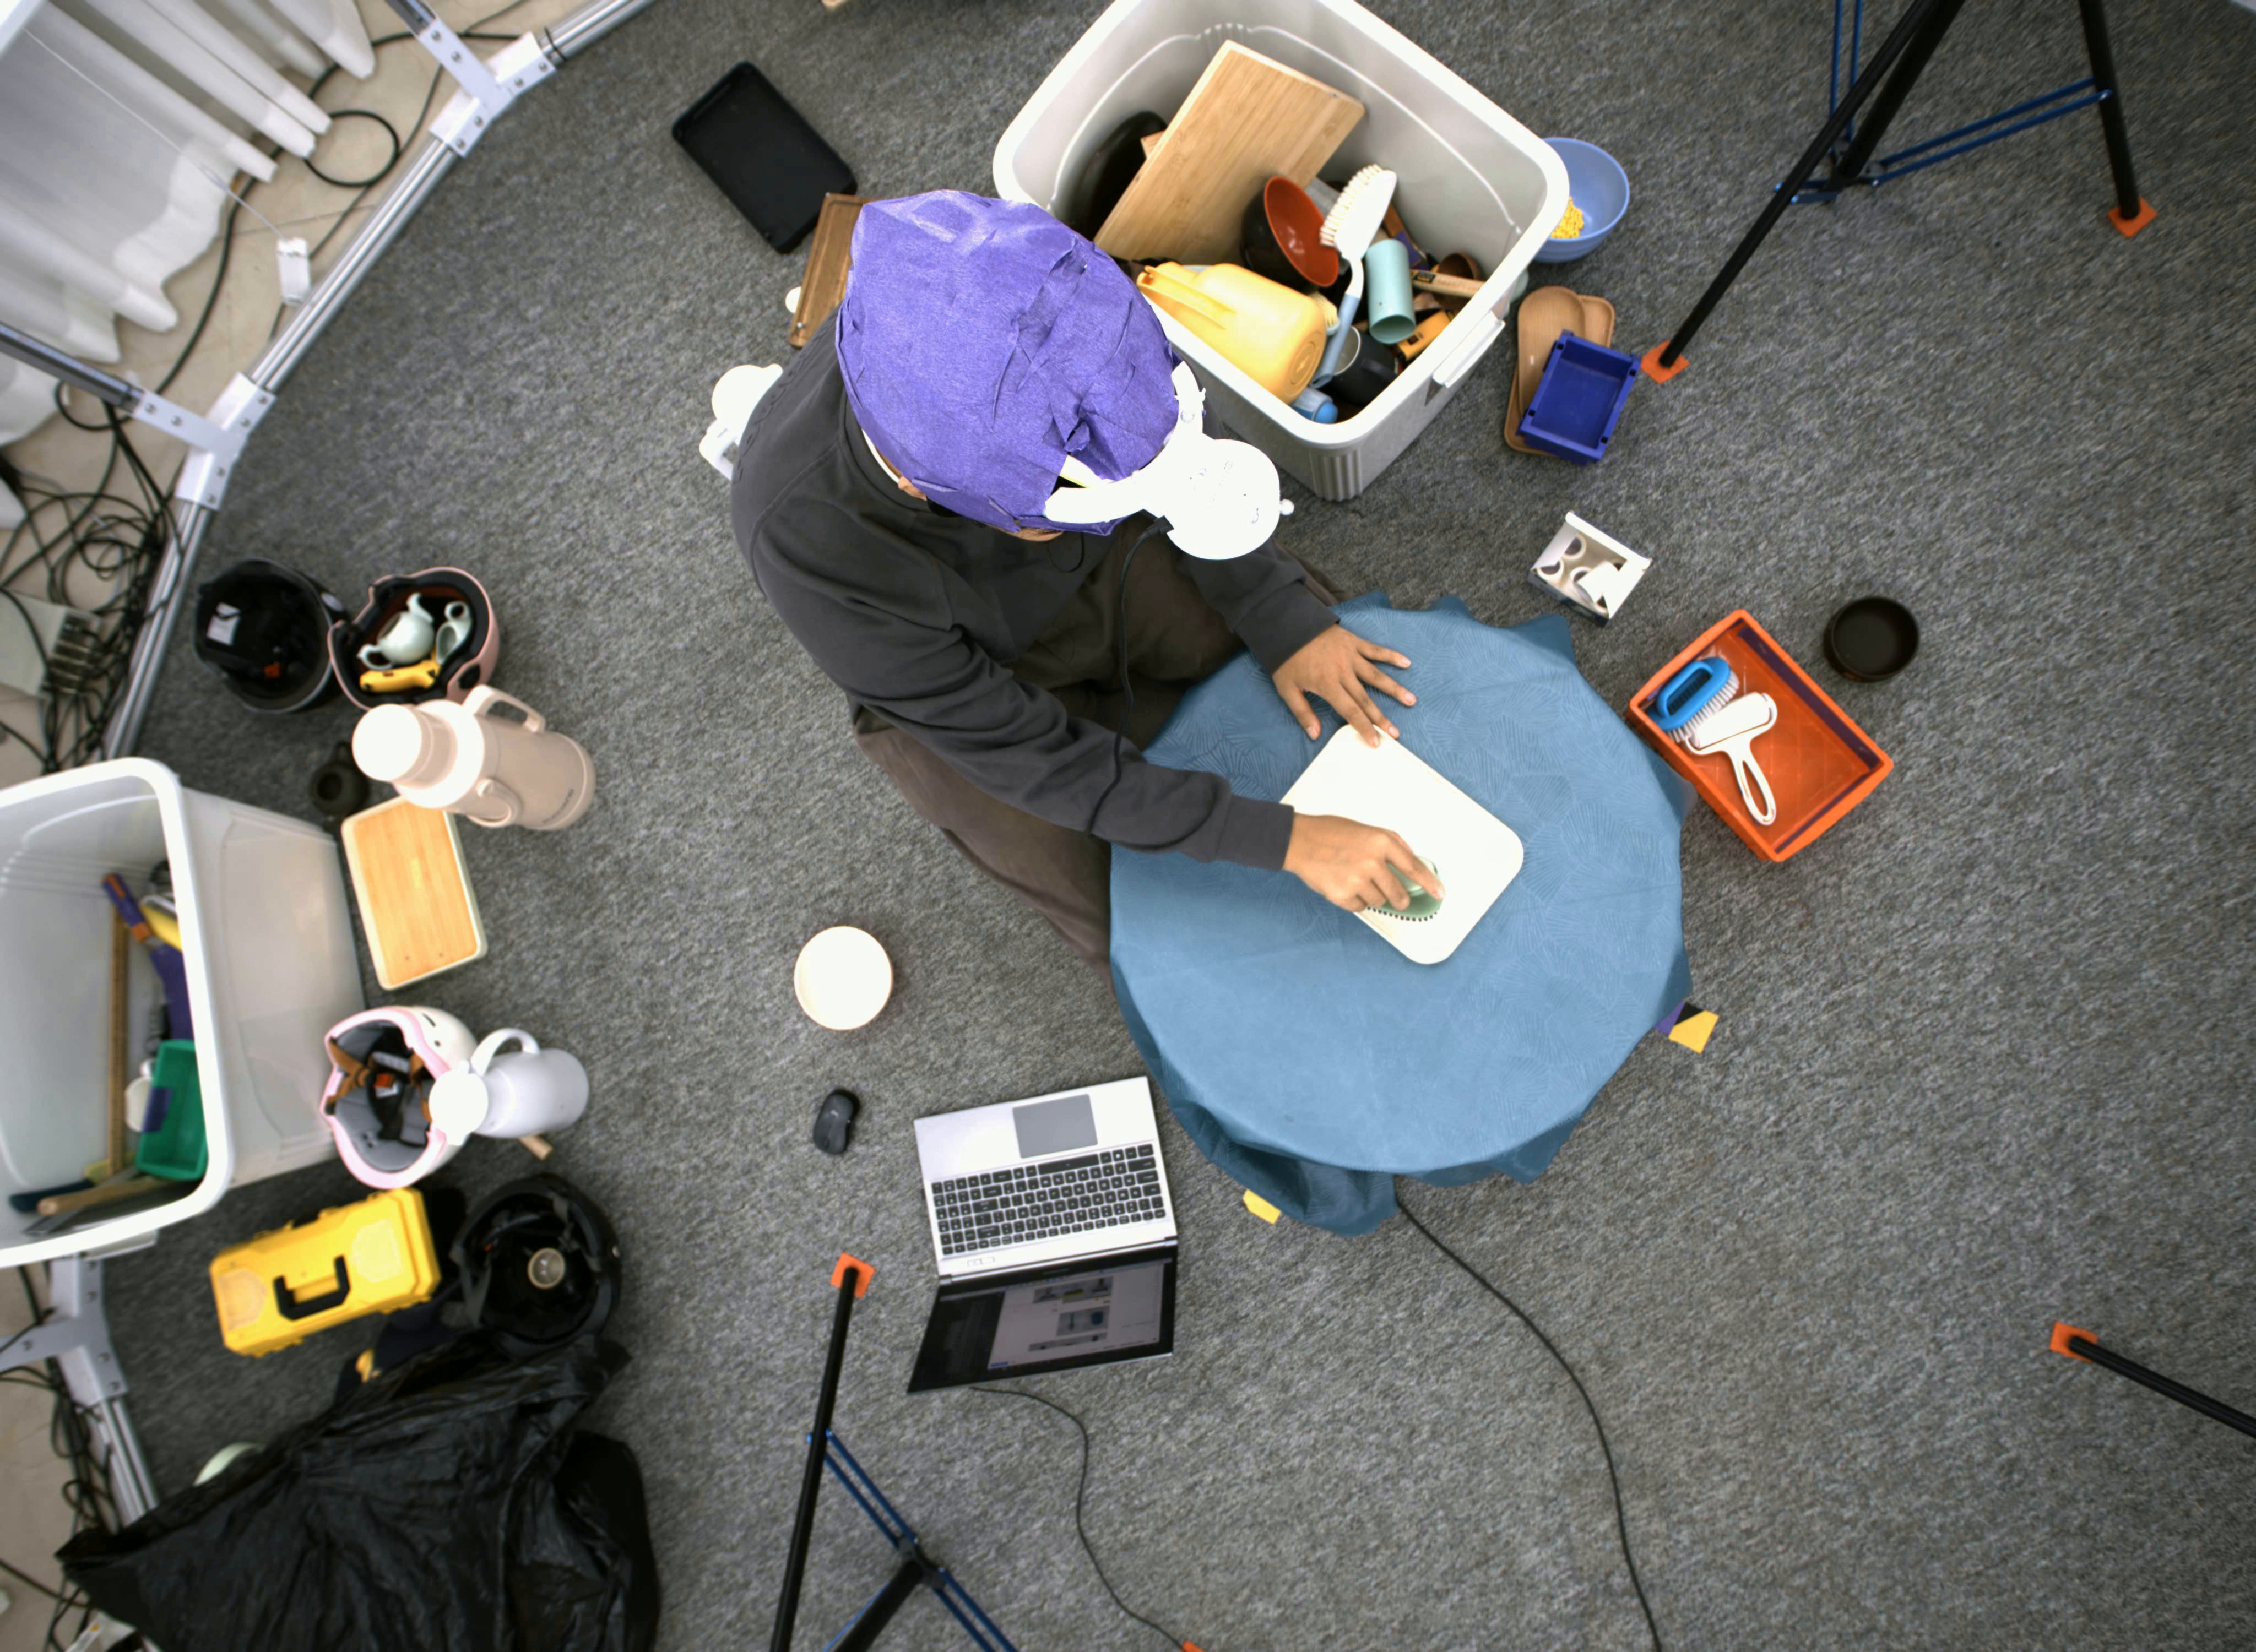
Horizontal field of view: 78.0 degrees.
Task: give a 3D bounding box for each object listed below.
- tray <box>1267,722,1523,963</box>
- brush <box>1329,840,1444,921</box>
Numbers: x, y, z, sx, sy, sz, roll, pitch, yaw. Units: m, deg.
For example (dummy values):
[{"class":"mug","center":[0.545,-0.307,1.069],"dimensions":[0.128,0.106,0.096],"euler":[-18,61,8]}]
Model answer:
[{"class":"tray","center":[0.279,0.015,1.453],"dimensions":[0.239,0.017,0.172],"euler":[40,94,11]},{"class":"brush","center":[0.263,0.053,1.404],"dimensions":[0.123,0.077,0.058],"euler":[13,63,37]}]
